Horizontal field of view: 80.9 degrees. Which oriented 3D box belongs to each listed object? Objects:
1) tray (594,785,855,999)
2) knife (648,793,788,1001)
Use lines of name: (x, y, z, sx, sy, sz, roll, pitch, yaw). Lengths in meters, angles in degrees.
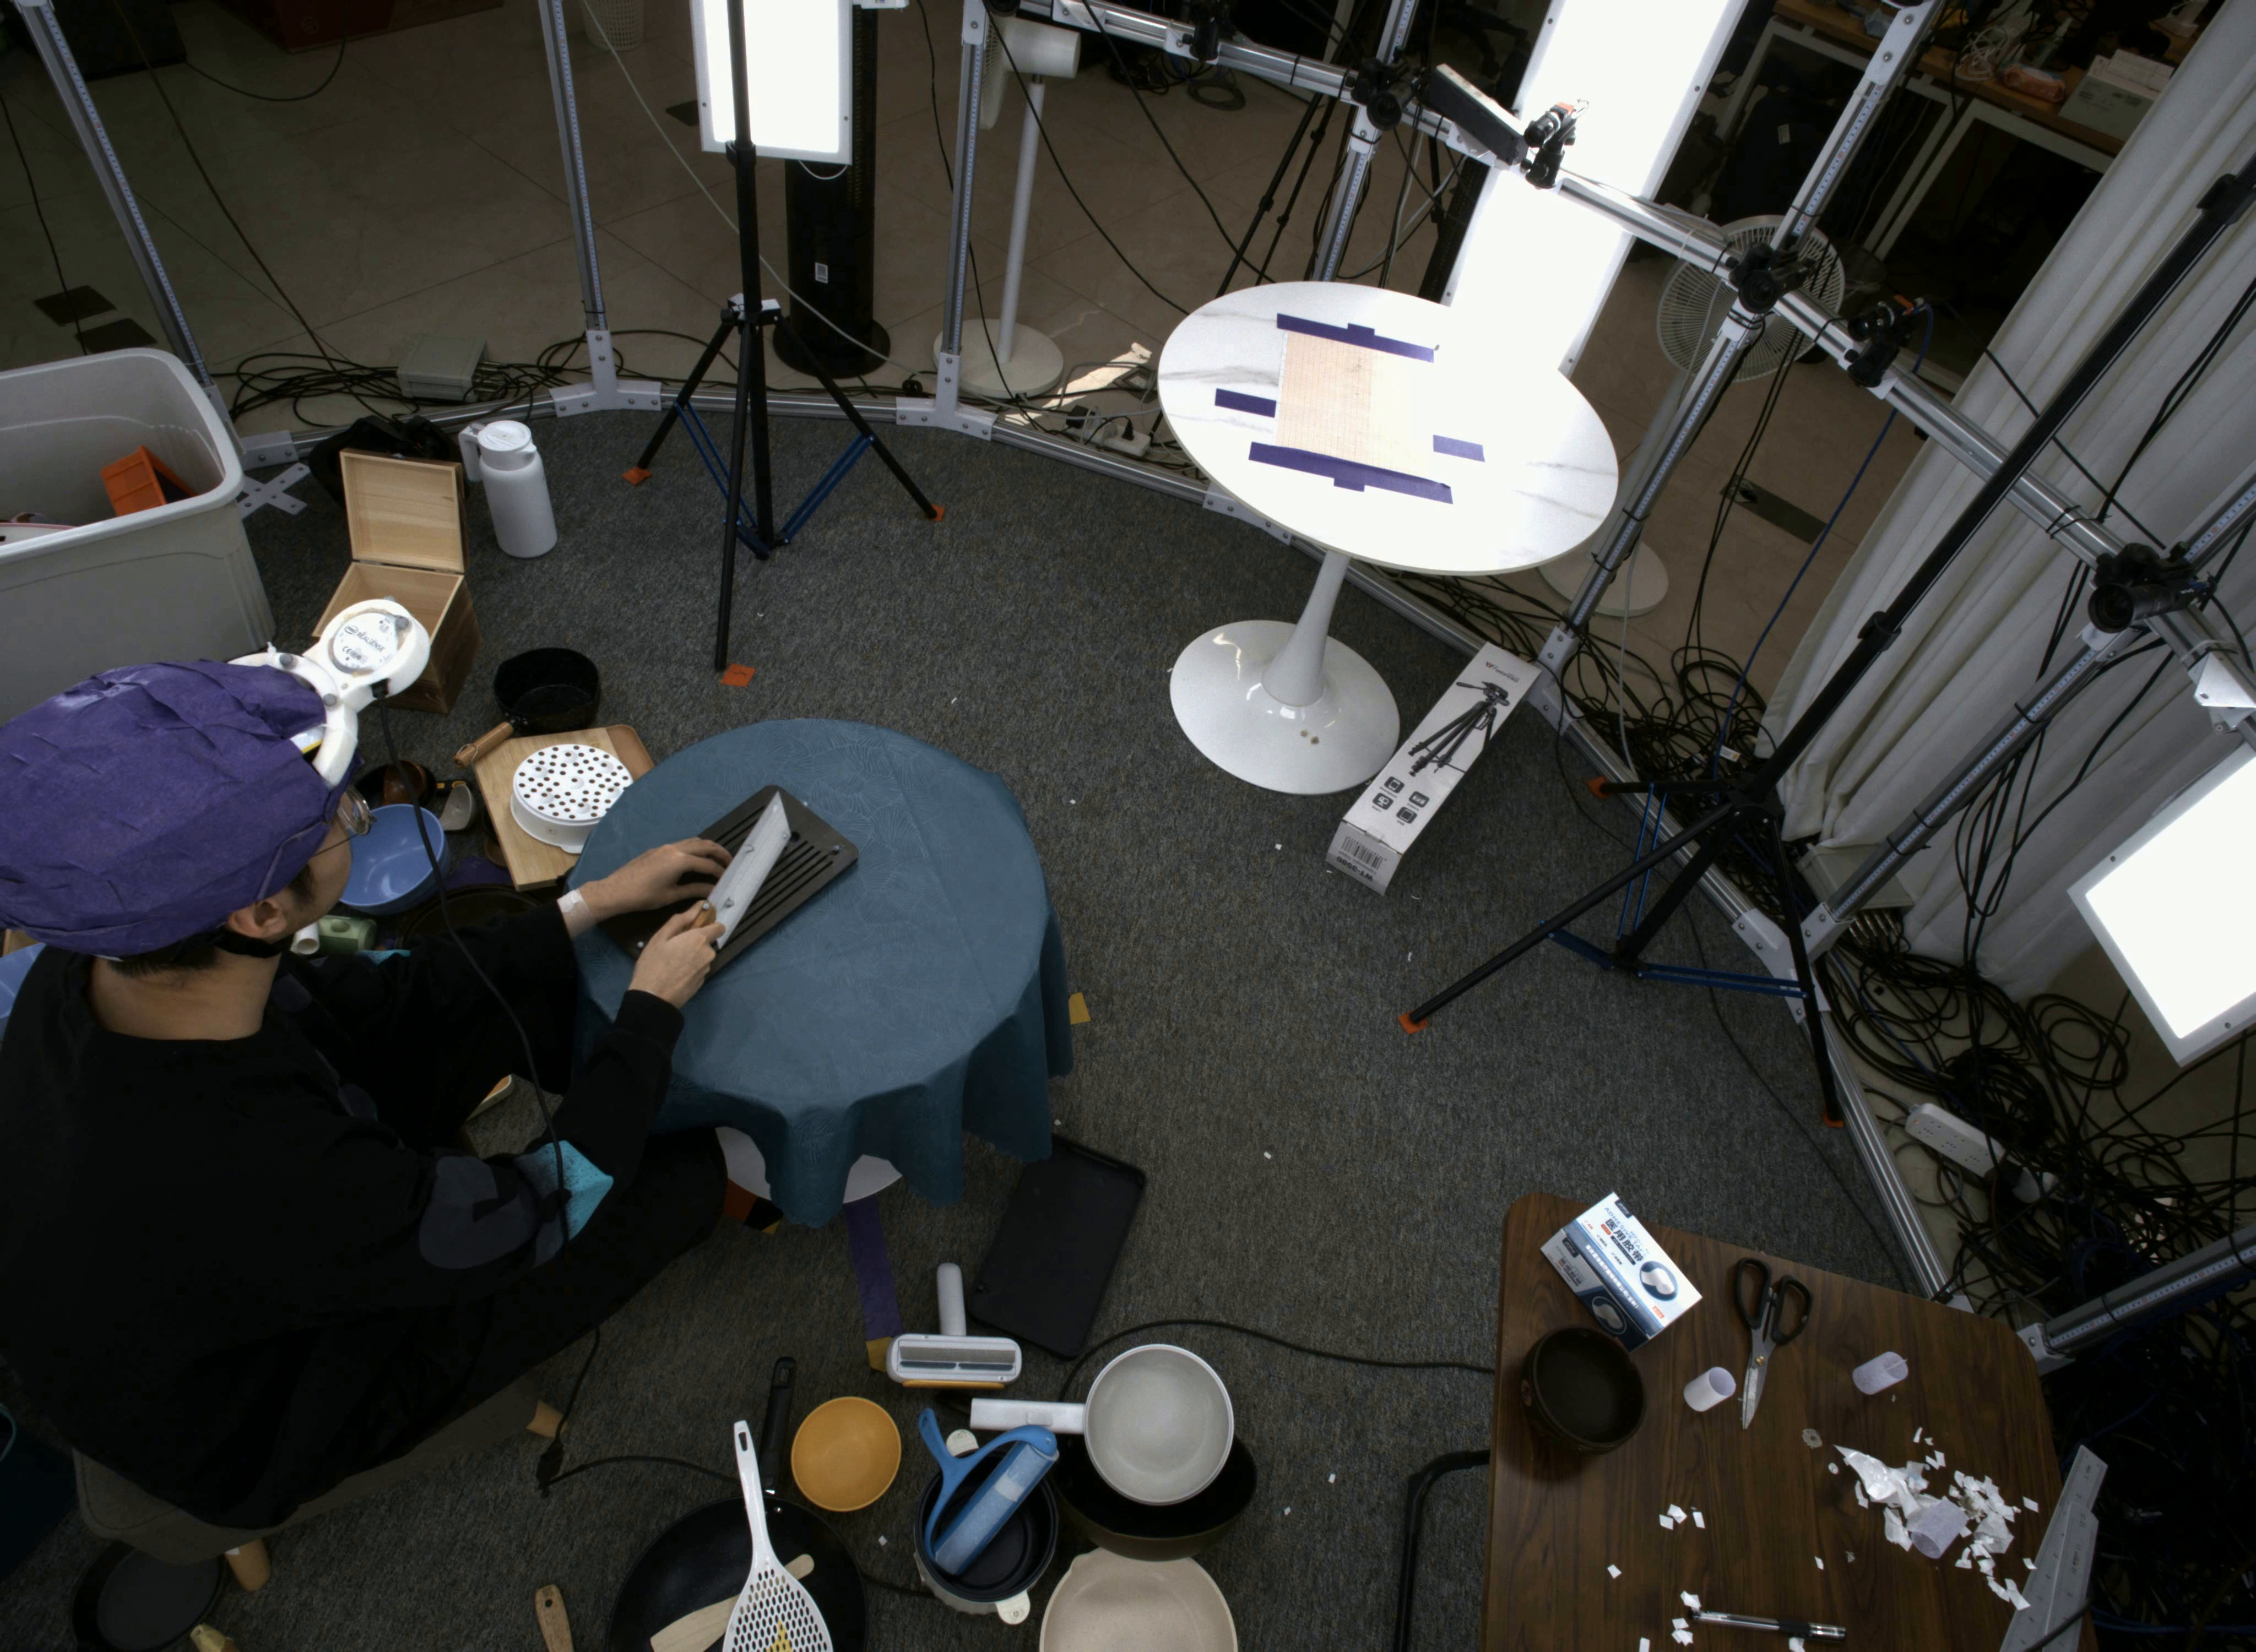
tray: (-0.505, 0.076, 1.623, 0.167, 0.019, 0.306, 37, 53, 13)
knife: (-0.481, 0.093, 1.544, 0.020, 0.096, 0.303, 13, 51, 12)
